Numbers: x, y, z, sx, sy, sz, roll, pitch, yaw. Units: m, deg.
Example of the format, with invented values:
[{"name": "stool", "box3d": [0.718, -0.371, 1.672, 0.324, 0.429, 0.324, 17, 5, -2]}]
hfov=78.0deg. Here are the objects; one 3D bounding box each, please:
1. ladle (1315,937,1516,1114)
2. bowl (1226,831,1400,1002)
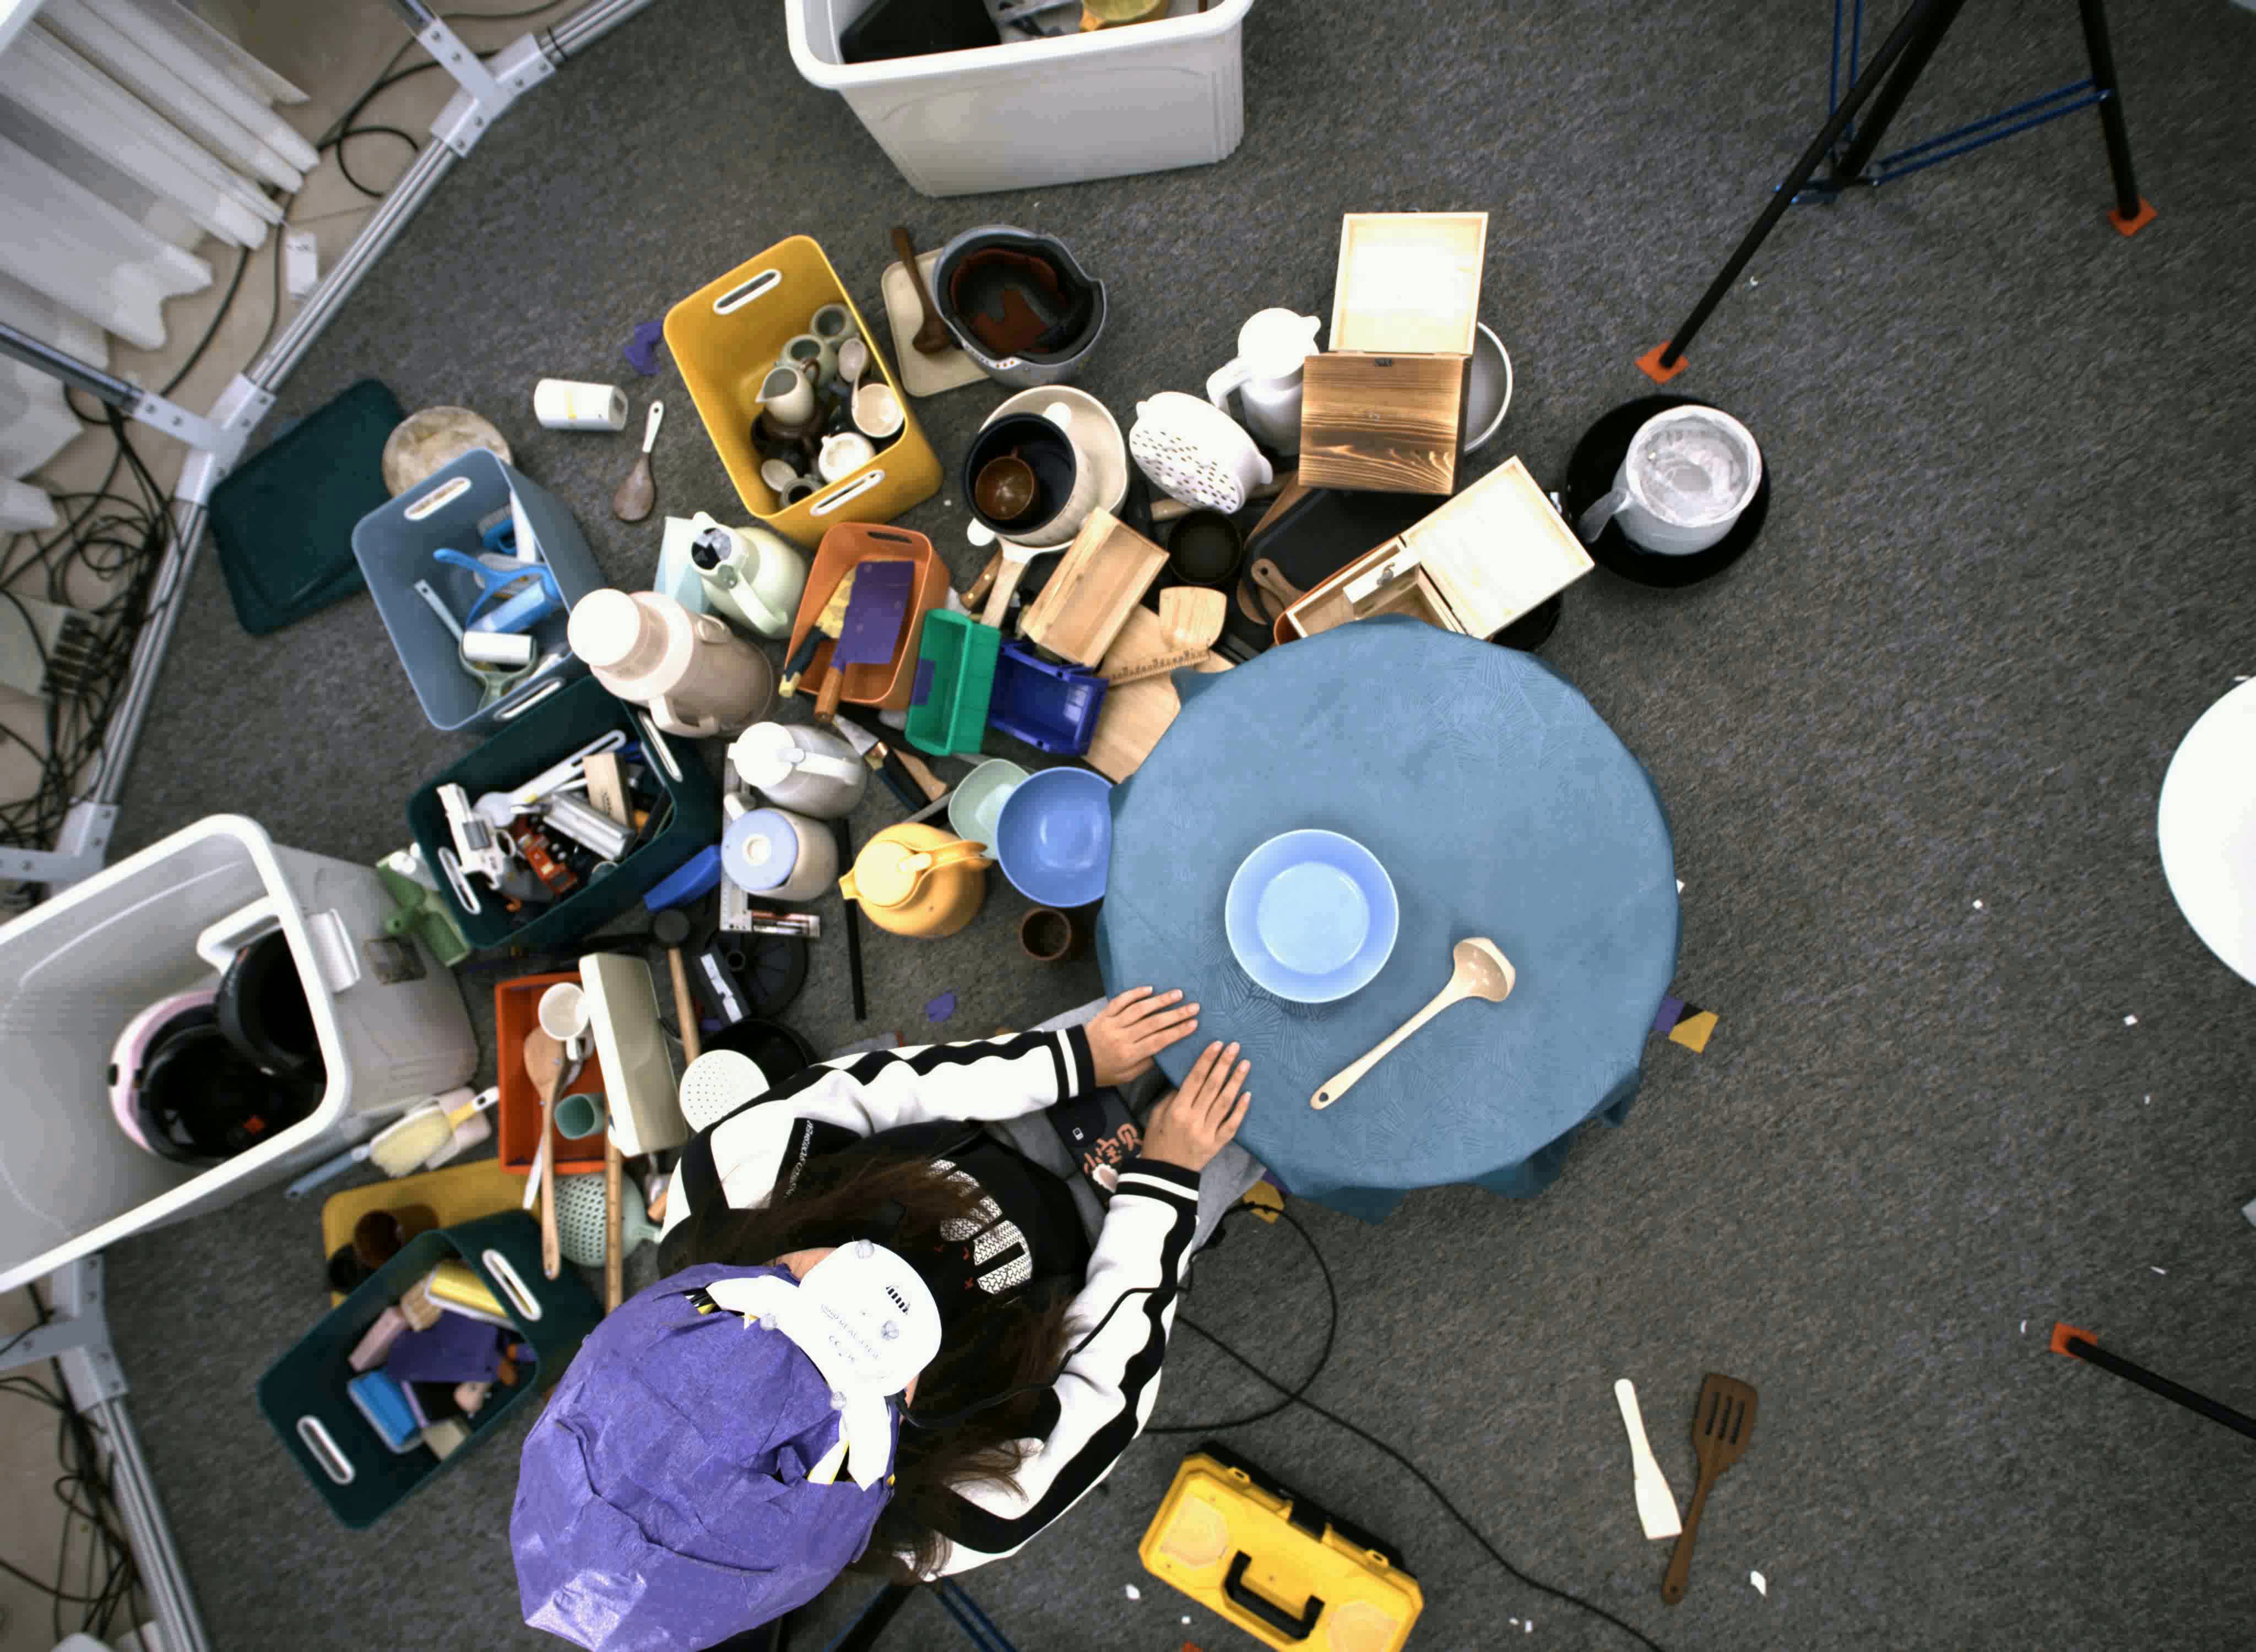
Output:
[{"name": "ladle", "box3d": [0.287, 0.210, 1.412, 0.255, 0.073, 0.072, -42, 79, 6]}, {"name": "bowl", "box3d": [0.193, 0.095, 1.439, 0.177, 0.070, 0.175, -1, 85, 11]}]
